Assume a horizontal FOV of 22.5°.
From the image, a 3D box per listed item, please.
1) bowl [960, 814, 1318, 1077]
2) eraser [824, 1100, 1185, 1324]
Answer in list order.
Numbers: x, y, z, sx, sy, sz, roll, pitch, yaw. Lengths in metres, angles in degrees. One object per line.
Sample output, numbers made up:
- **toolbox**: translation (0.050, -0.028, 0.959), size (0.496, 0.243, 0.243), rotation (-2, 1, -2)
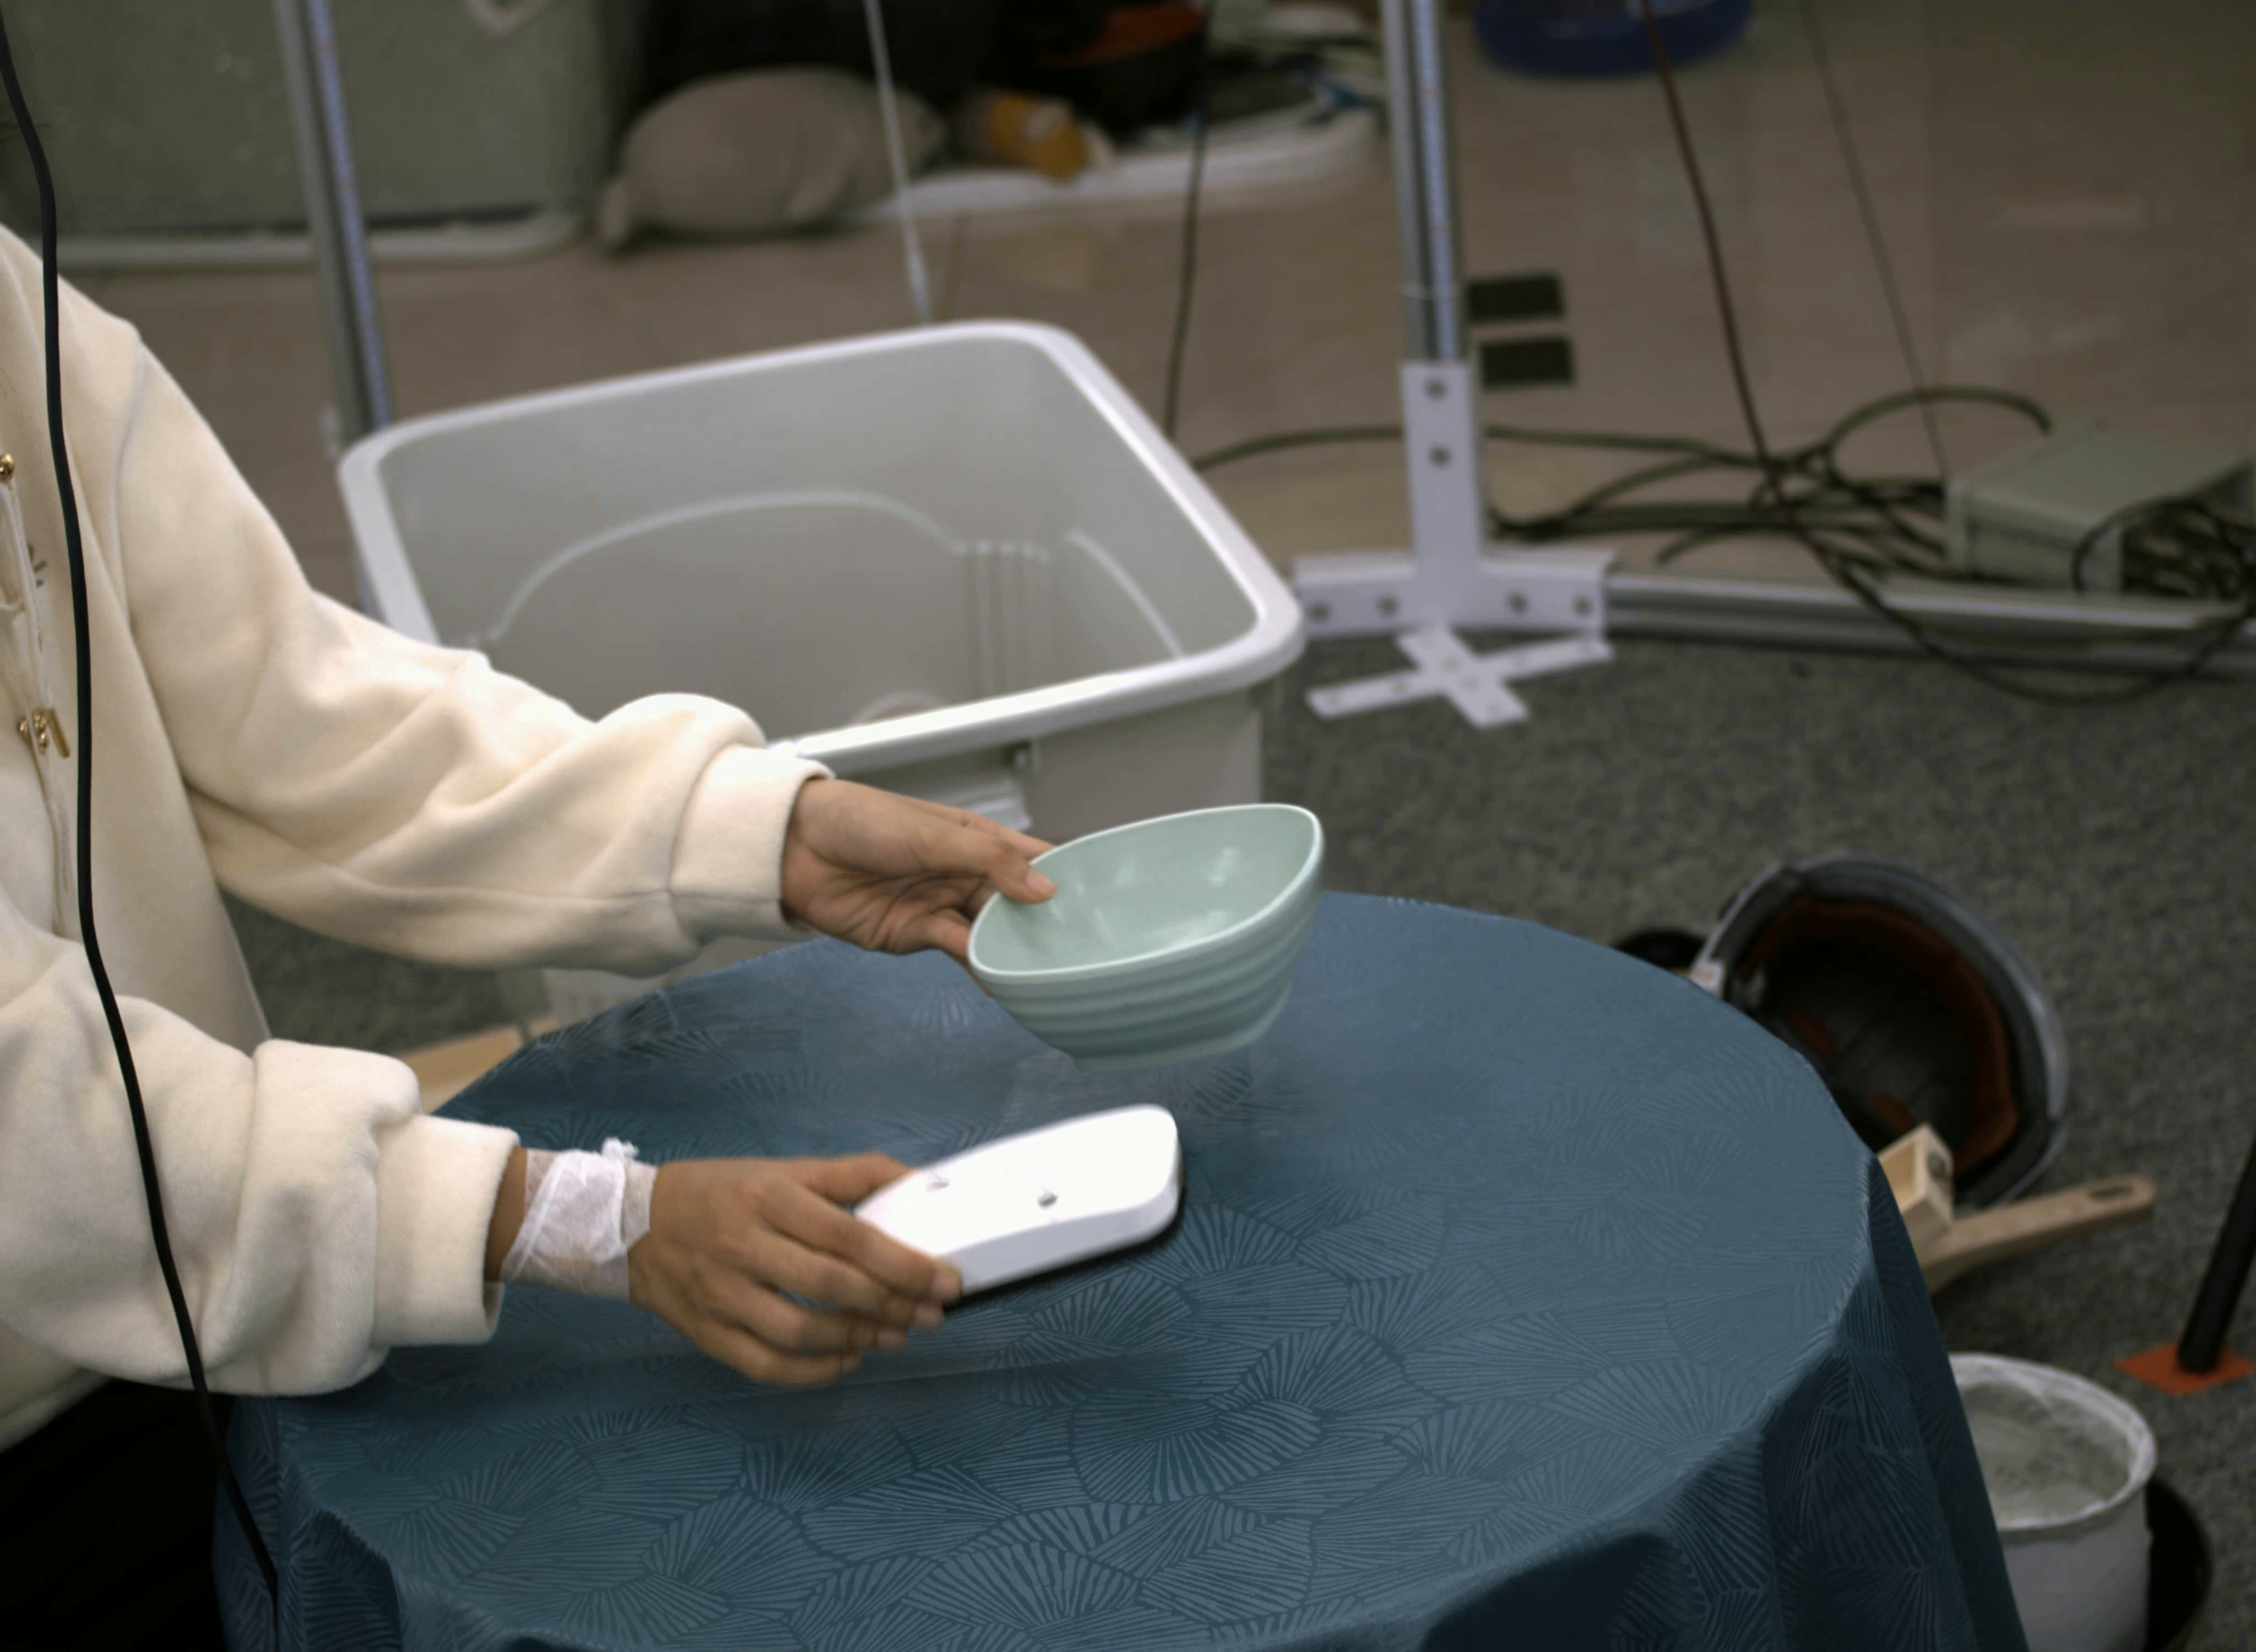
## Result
- **bowl**: translation (0.011, 0.051, 2.176), size (0.151, 0.059, 0.149), rotation (-16, 19, 6)
- **eraser**: translation (-0.044, 0.134, 2.014), size (0.131, 0.035, 0.062), rotation (-18, 27, 17)
